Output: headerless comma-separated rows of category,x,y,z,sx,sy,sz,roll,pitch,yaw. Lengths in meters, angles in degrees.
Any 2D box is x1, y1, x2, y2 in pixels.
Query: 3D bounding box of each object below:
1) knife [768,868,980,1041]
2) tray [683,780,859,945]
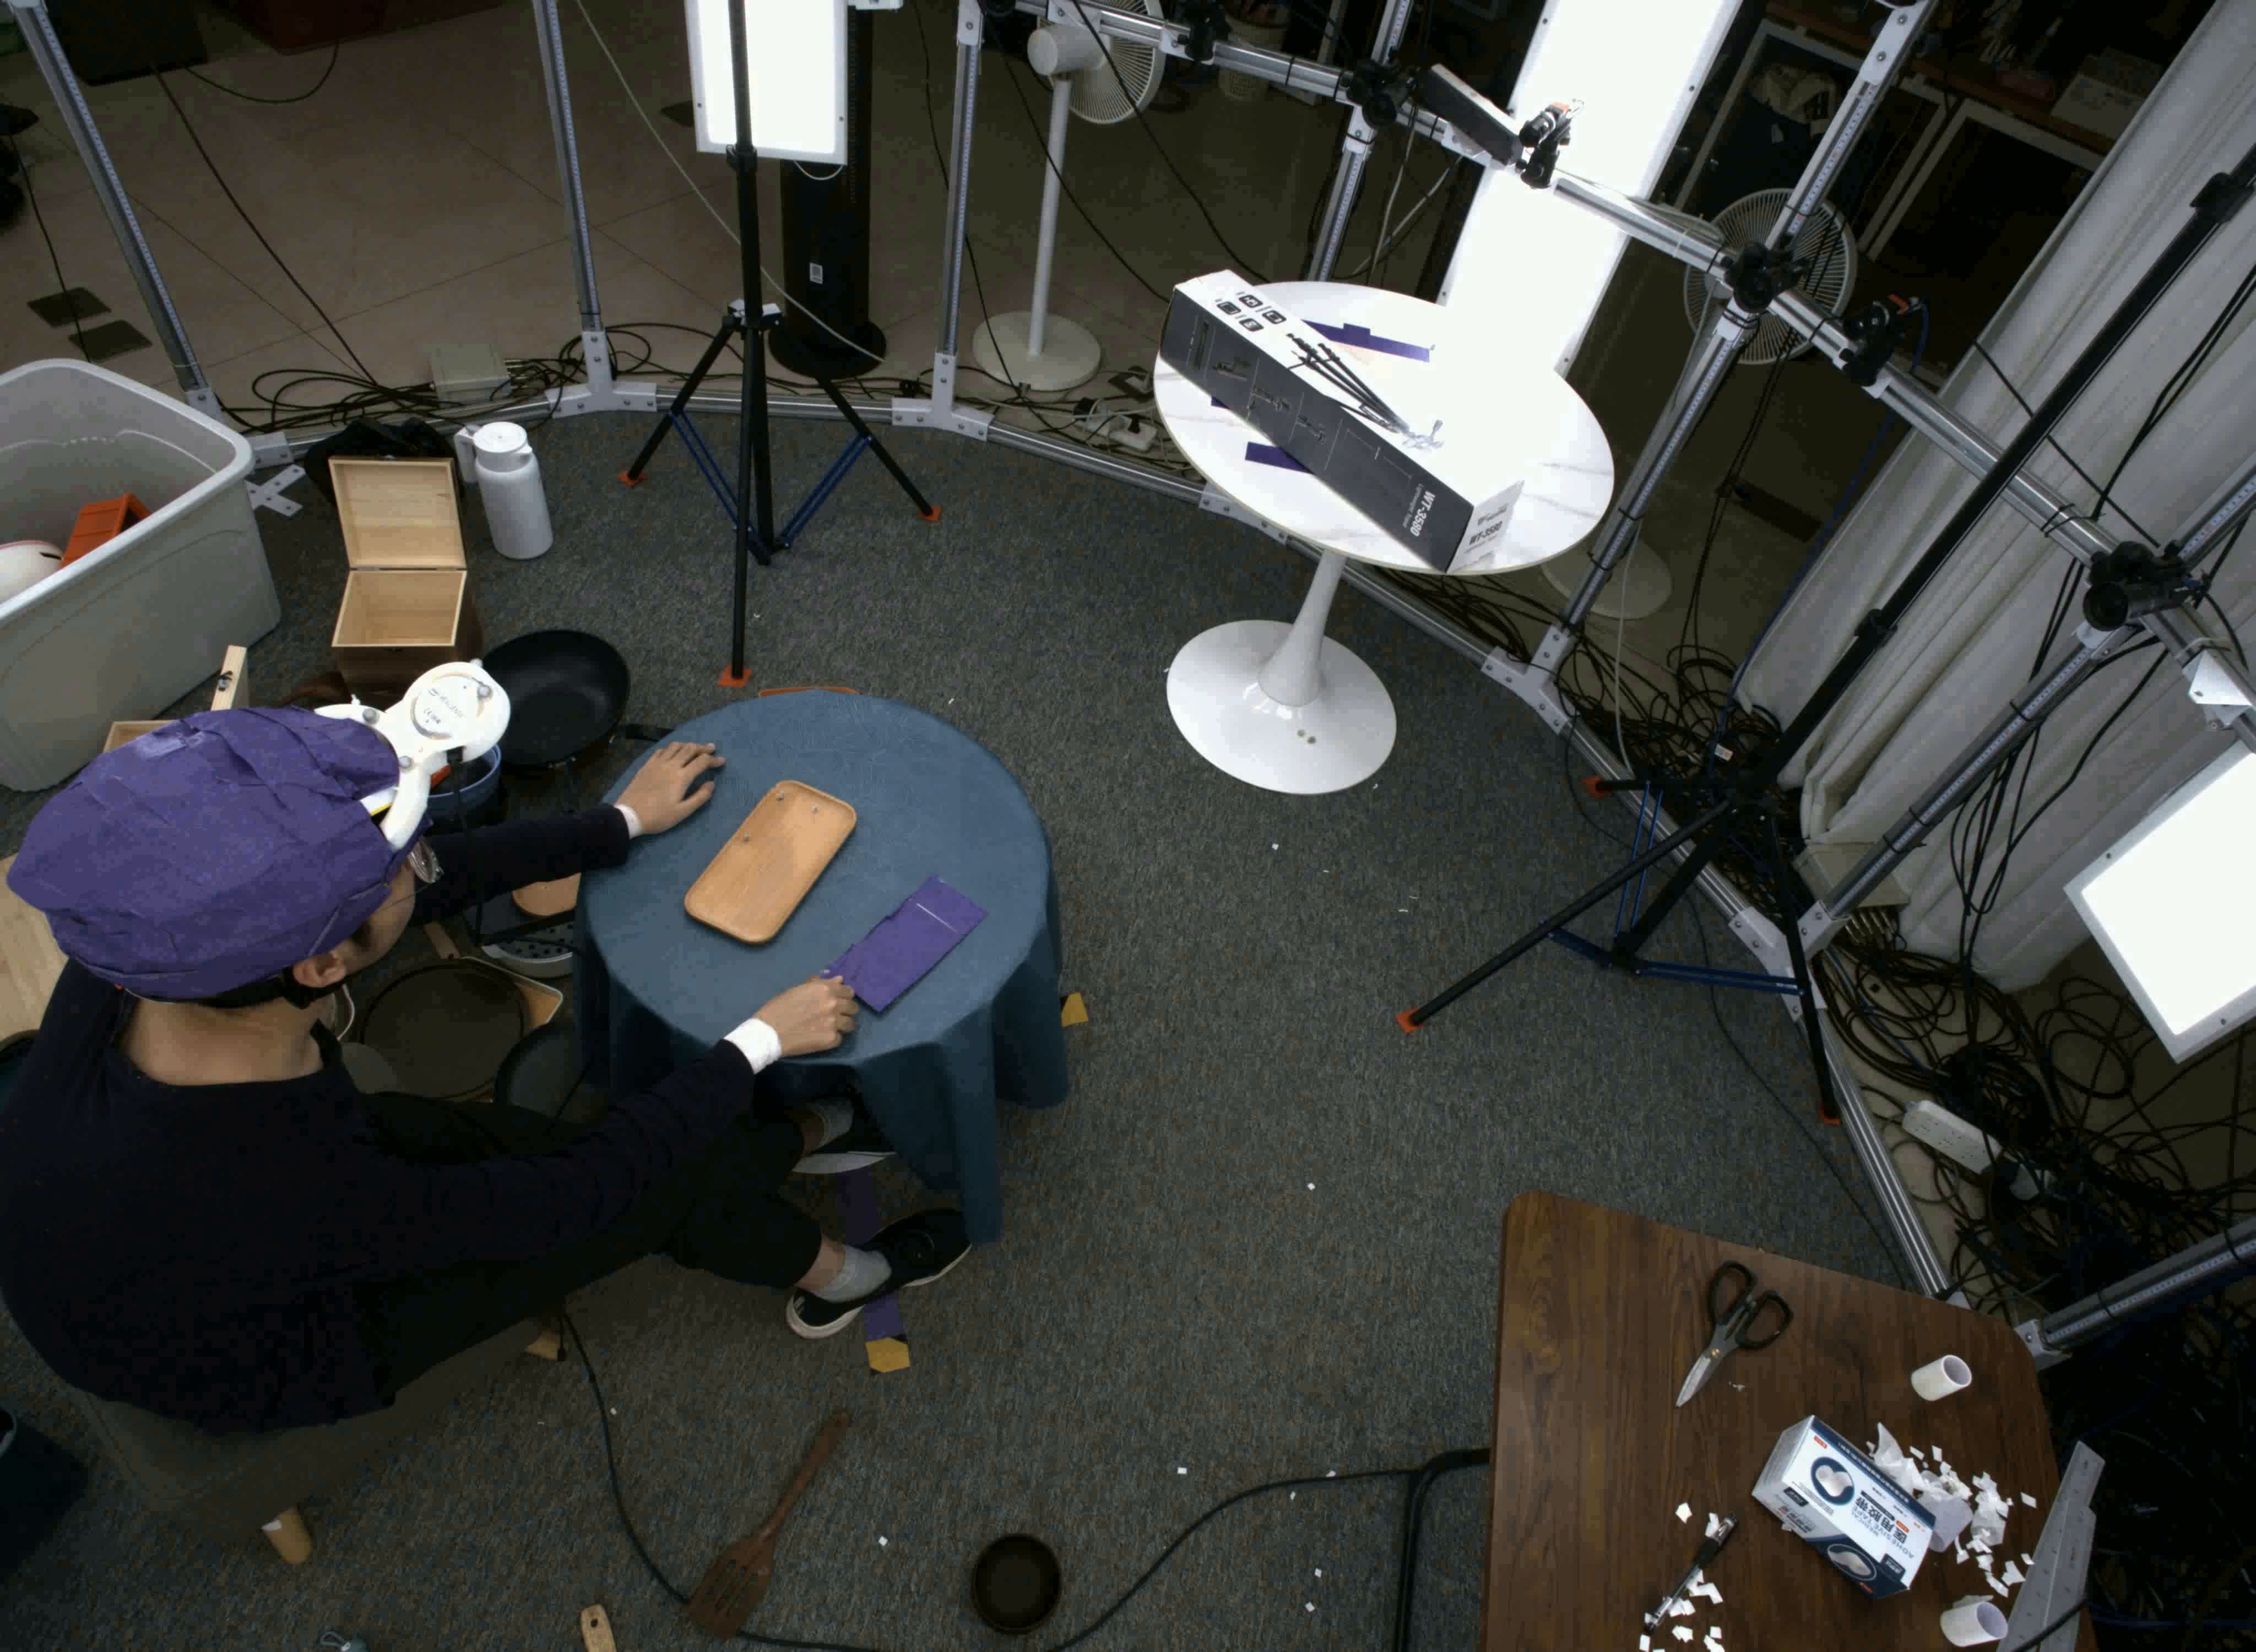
knife,-0.307,0.168,1.623,0.102,0.033,0.315,35,53,13
tray,-0.461,0.043,1.683,0.128,0.023,0.249,25,53,8
